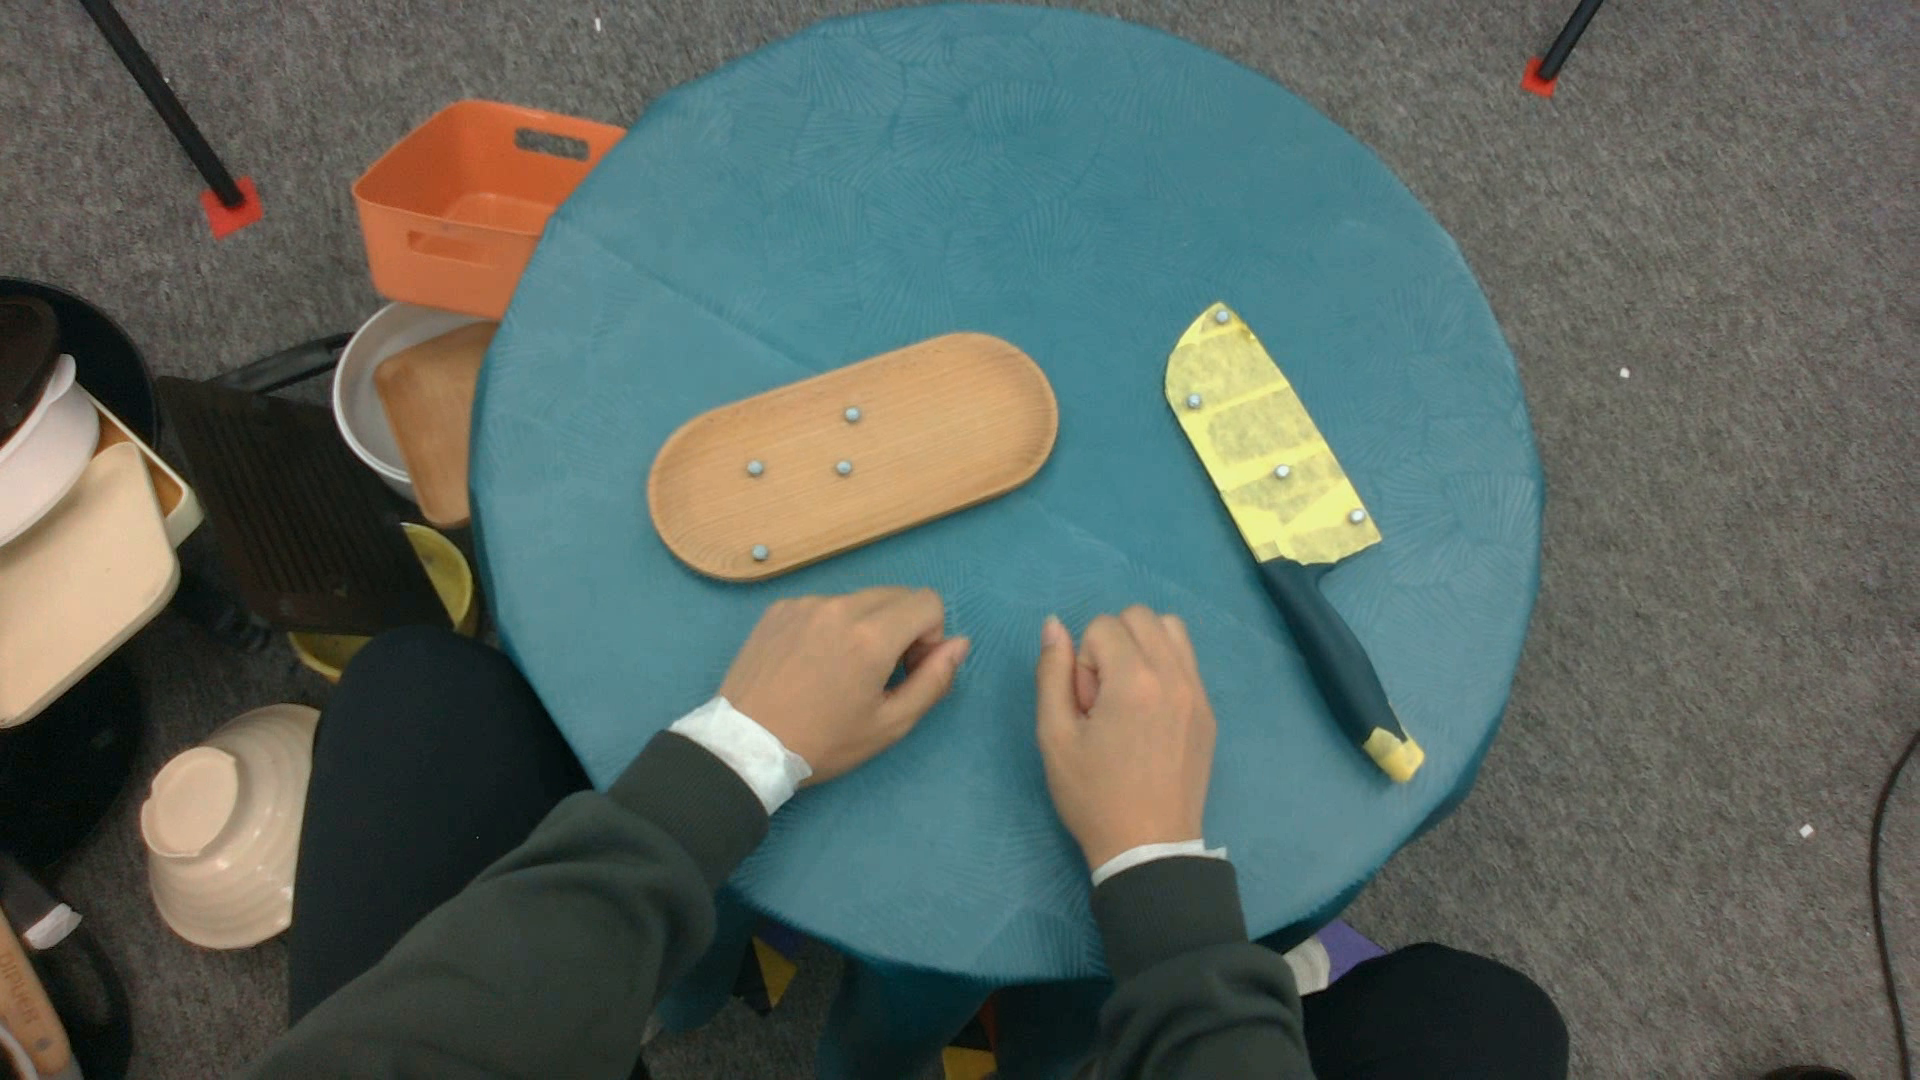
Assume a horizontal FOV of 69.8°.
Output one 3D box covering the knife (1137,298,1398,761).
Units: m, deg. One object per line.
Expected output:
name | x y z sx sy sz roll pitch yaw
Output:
knife | 0.177 -0.016 0.768 0.081 0.027 0.290 -19 72 -12

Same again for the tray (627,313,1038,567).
tray | -0.066 -0.056 0.752 0.231 0.020 0.102 -21 74 -16
